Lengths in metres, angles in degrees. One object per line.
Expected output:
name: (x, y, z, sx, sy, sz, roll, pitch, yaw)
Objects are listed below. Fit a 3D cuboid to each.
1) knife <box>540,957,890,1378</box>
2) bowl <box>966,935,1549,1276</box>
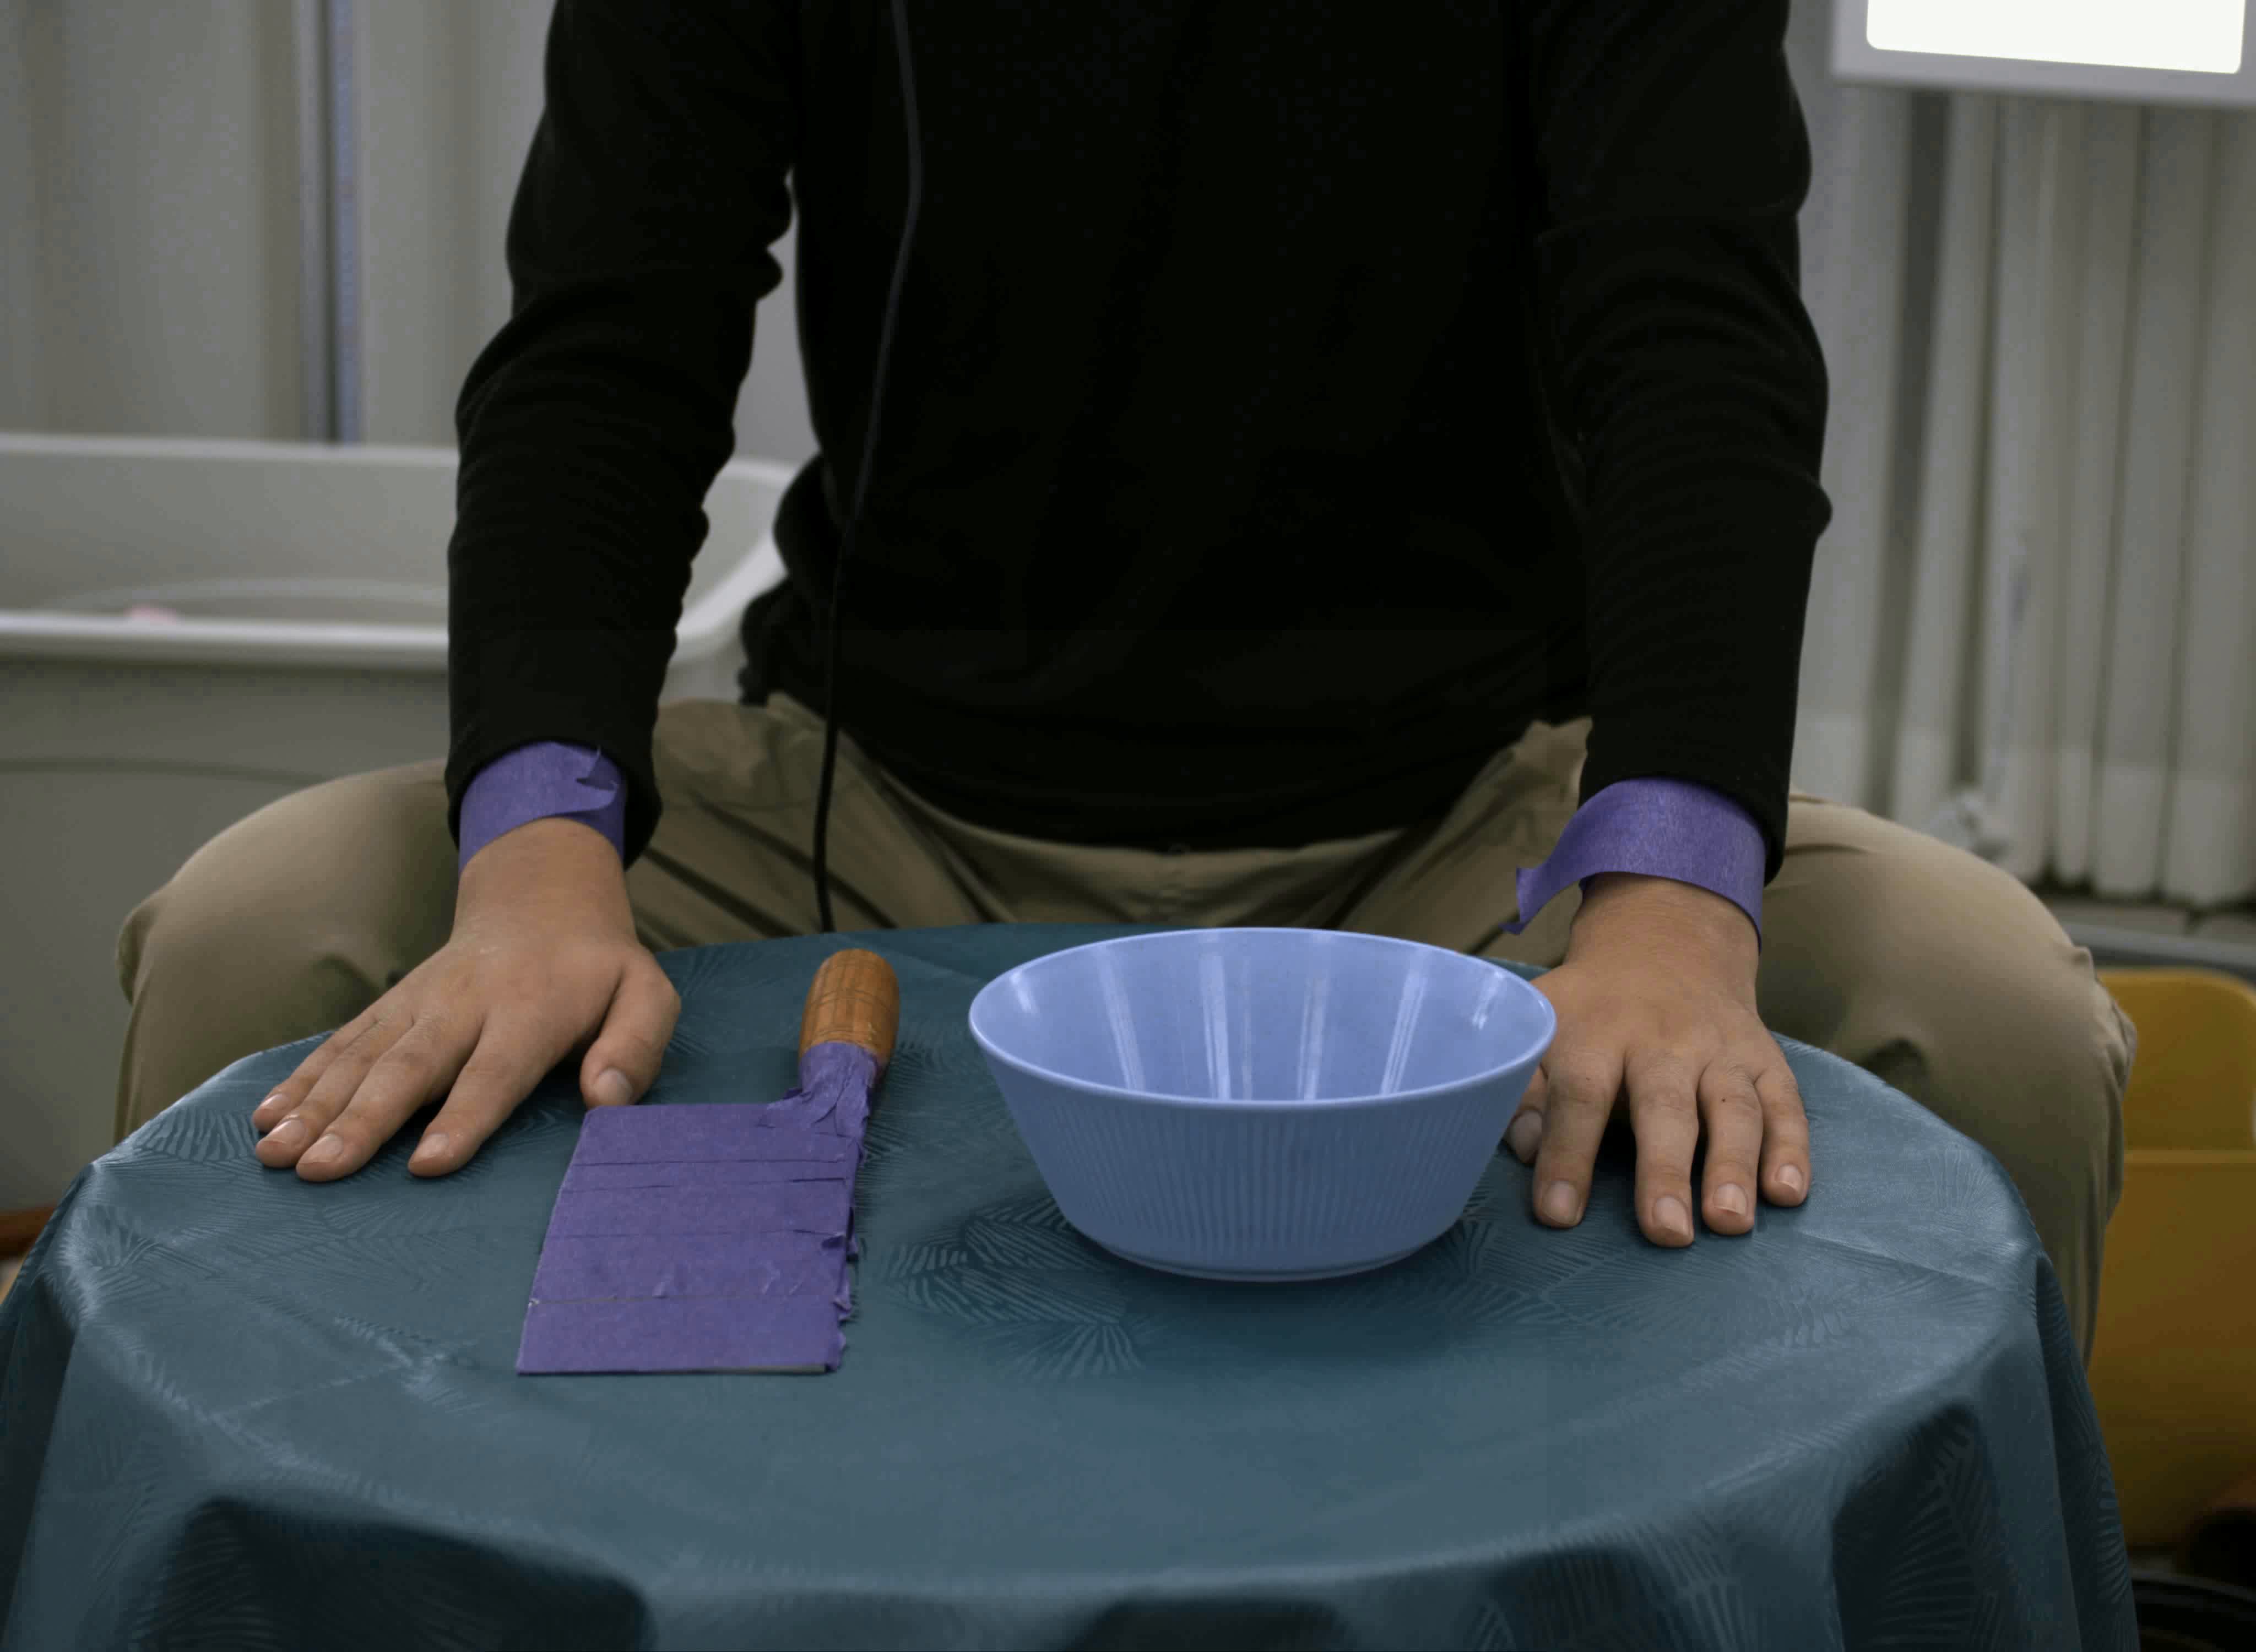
knife: (-0.124, 0.100, 1.612, 0.103, 0.032, 0.313, 1, 16, -1)
bowl: (0.038, 0.086, 1.585, 0.175, 0.071, 0.175, 2, 15, 0)
